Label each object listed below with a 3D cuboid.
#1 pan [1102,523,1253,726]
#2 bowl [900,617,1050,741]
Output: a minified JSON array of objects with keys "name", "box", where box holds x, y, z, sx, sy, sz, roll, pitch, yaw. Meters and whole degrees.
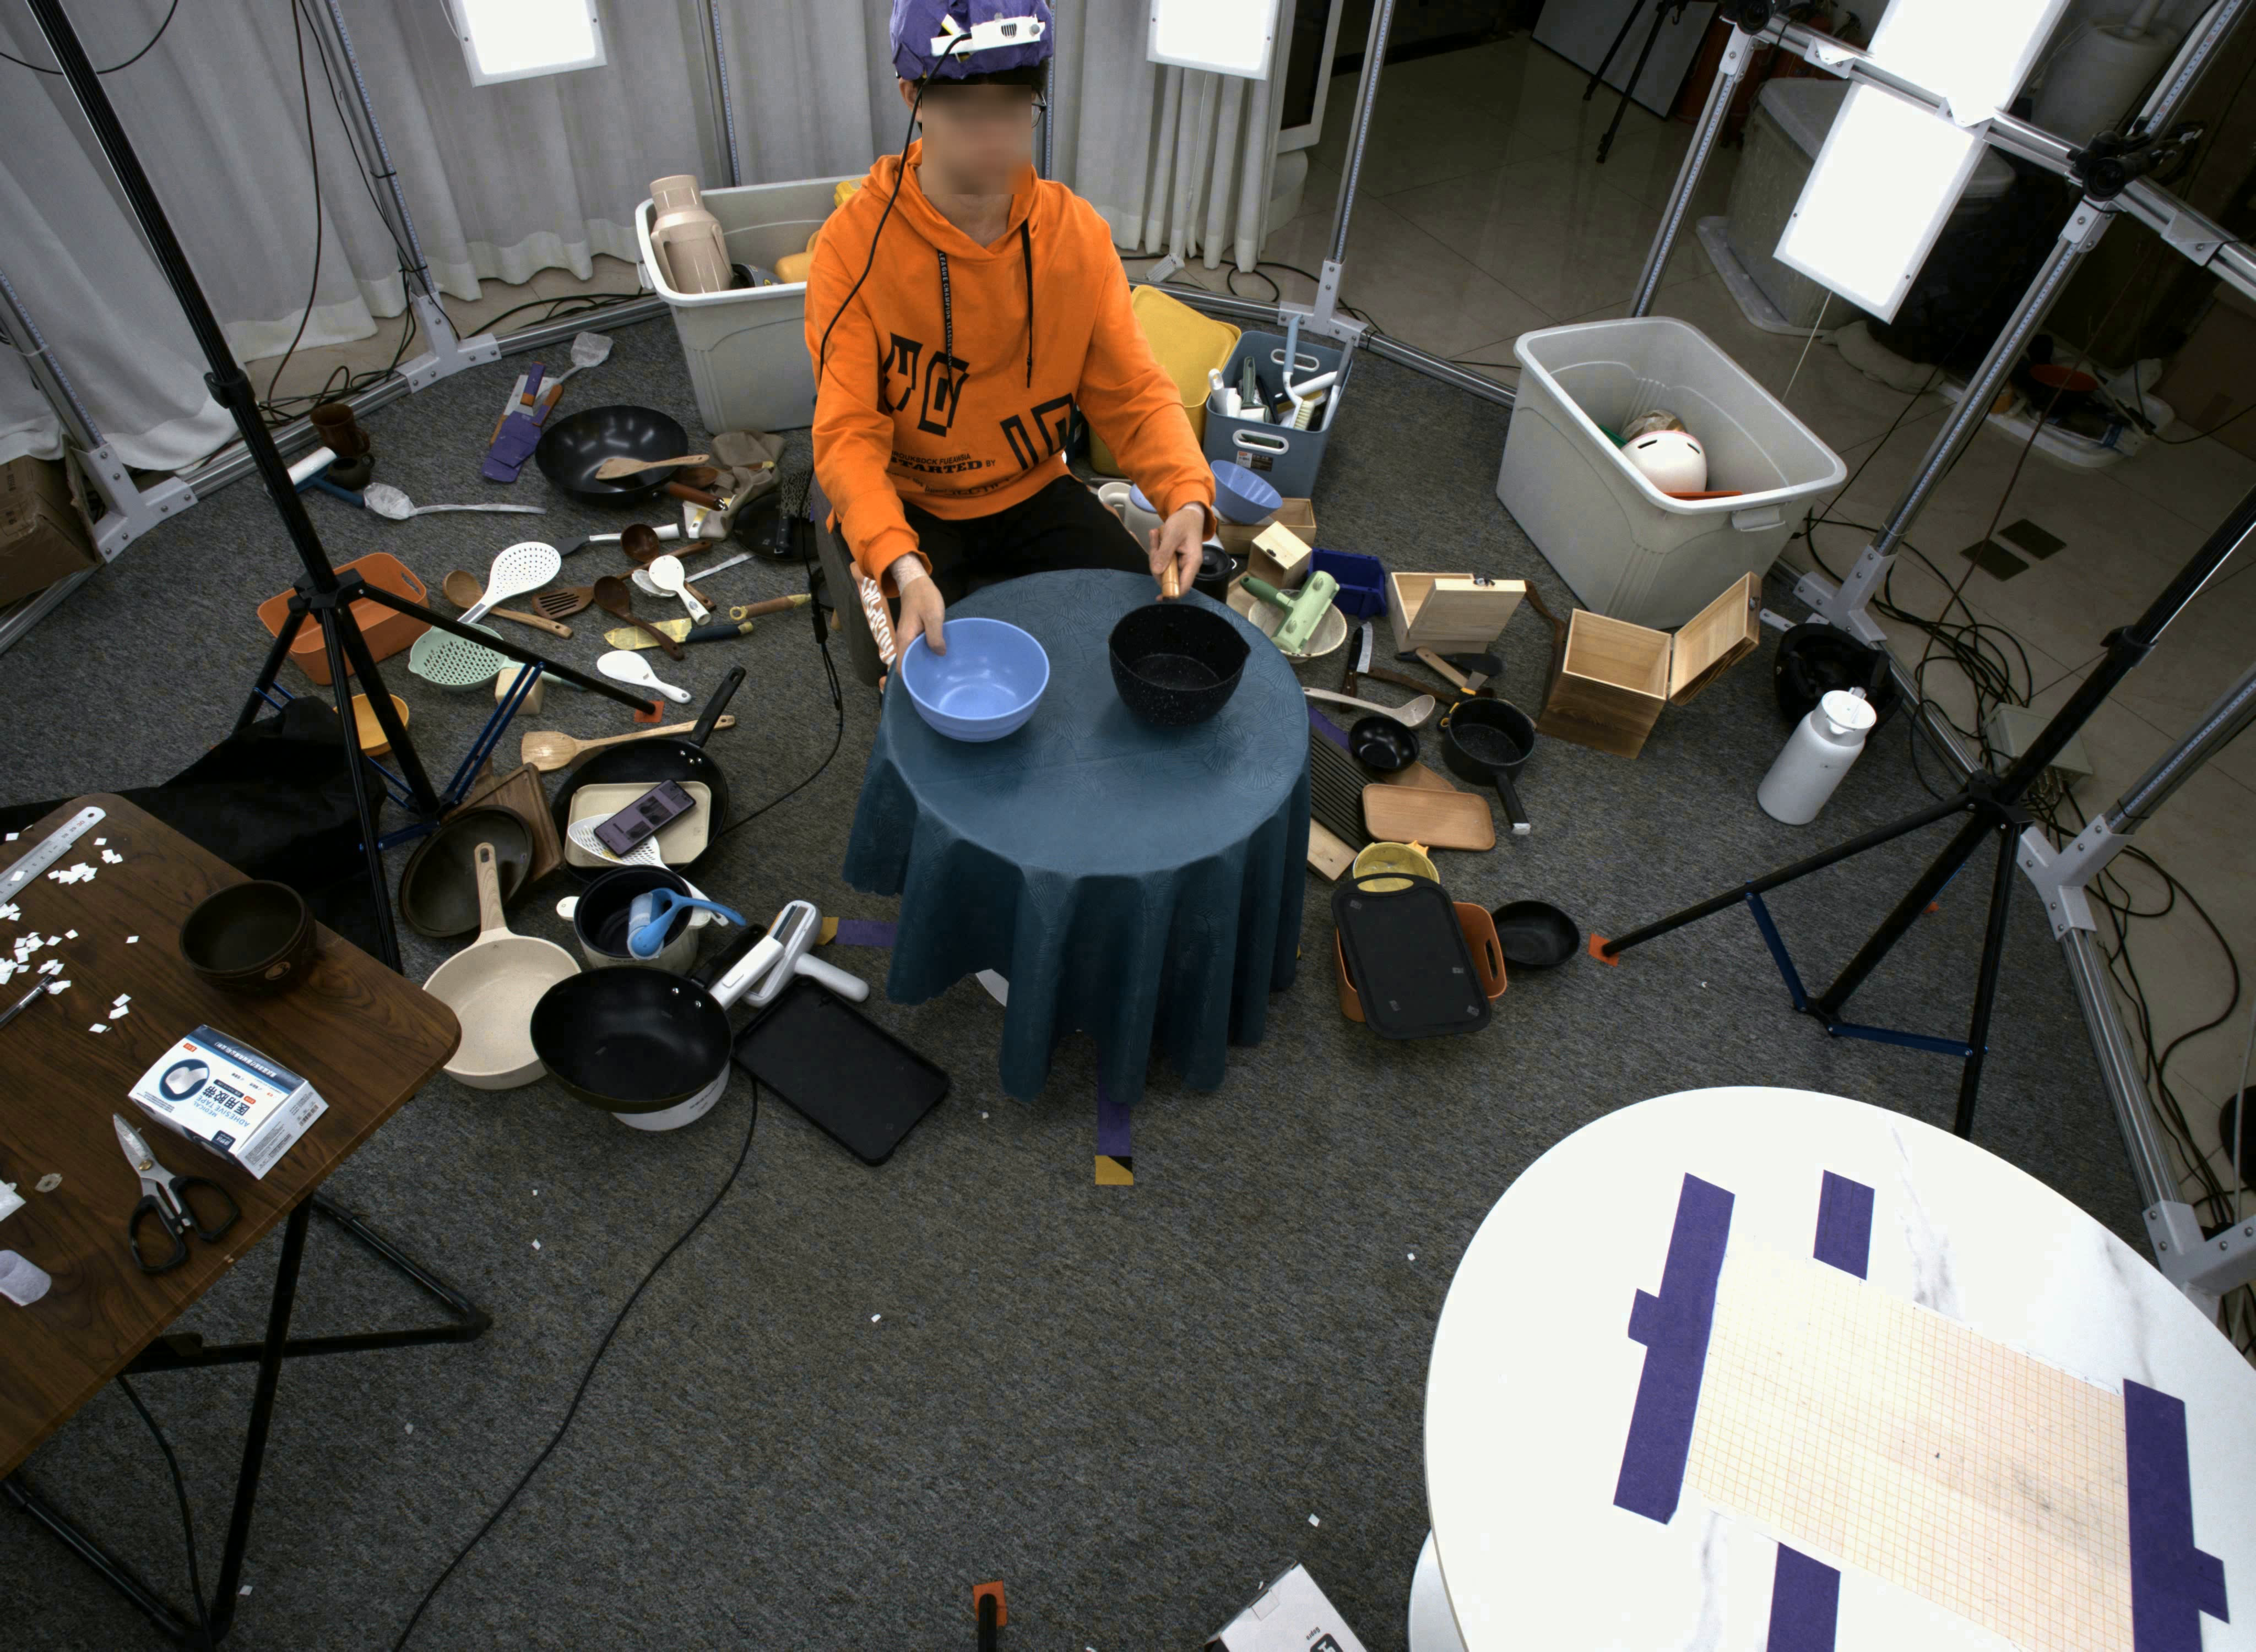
[{"name":"pan","box":[0.060,-0.287,1.820,0.207,0.105,0.351,0,48,-6]},{"name":"bowl","box":[-0.206,-0.184,1.743,0.196,0.093,0.201,2,50,-3]}]
